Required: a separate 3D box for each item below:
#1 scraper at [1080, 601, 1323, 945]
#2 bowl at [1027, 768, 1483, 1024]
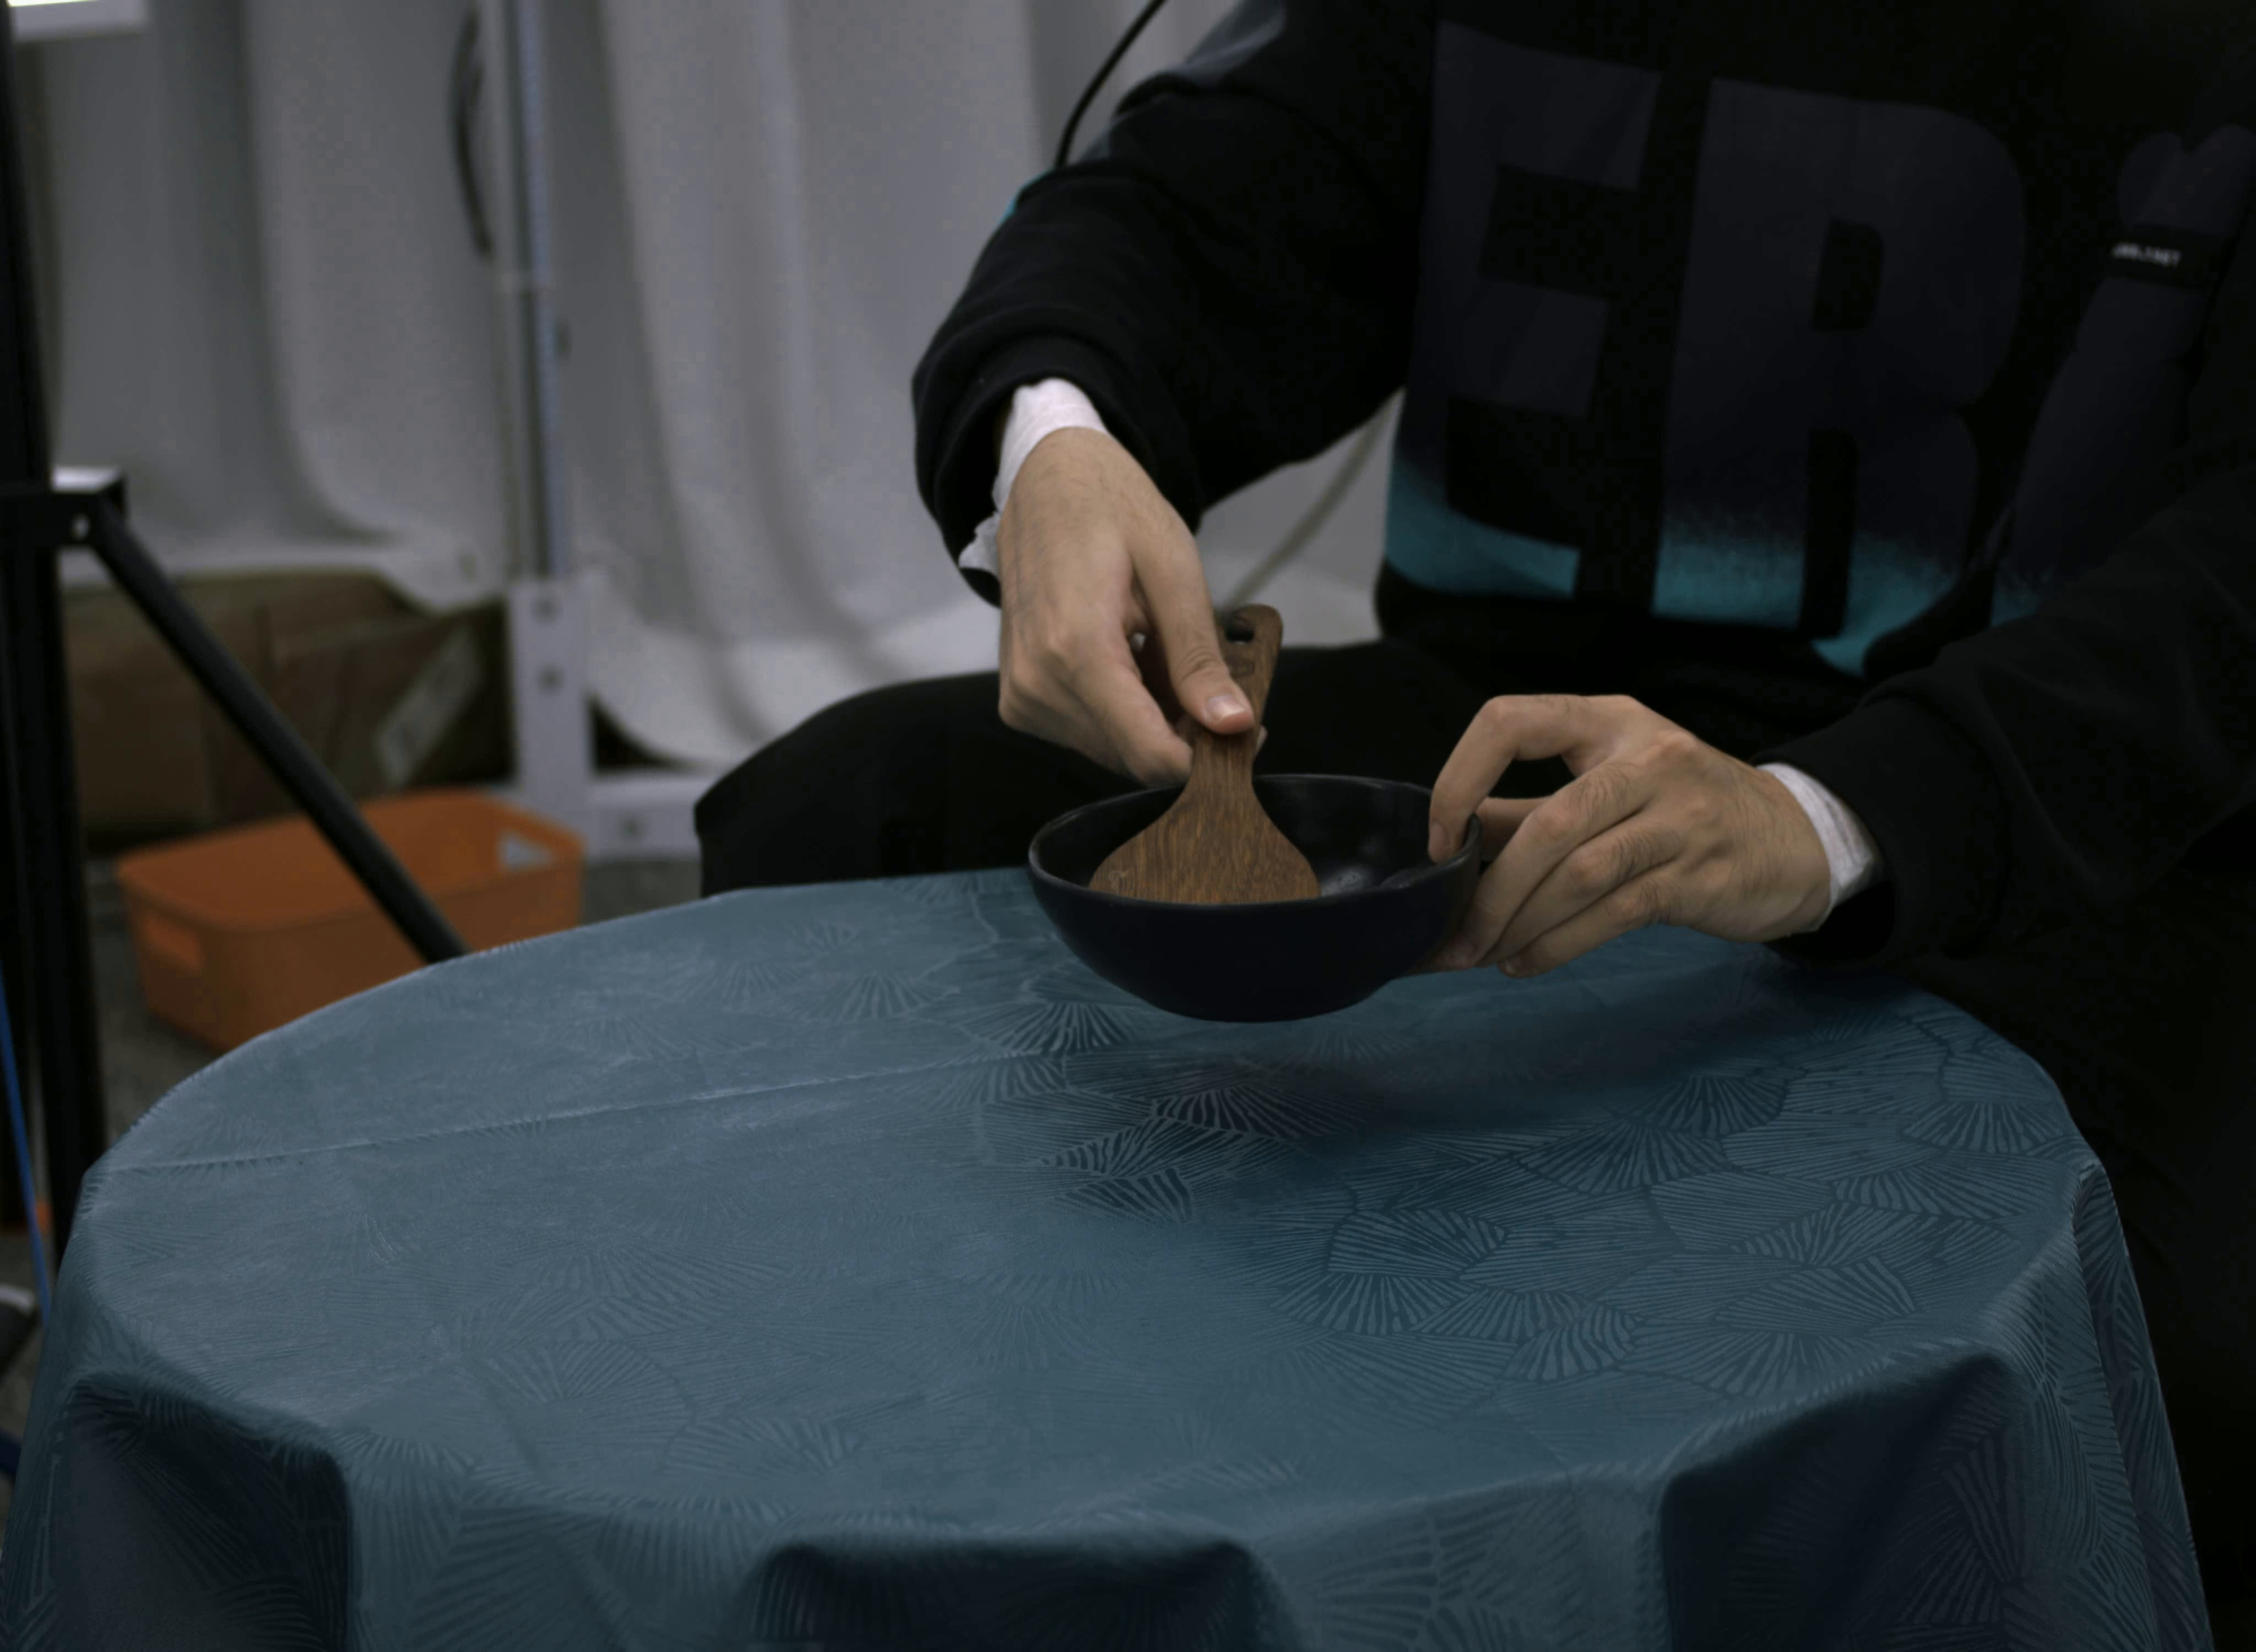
[{"bbox_3d":[0.030,-0.016,1.663,0.076,0.011,0.212,4,33,4],"label":"scraper"},{"bbox_3d":[0.041,0.026,1.610,0.139,0.050,0.141,-7,16,0],"label":"bowl"}]
